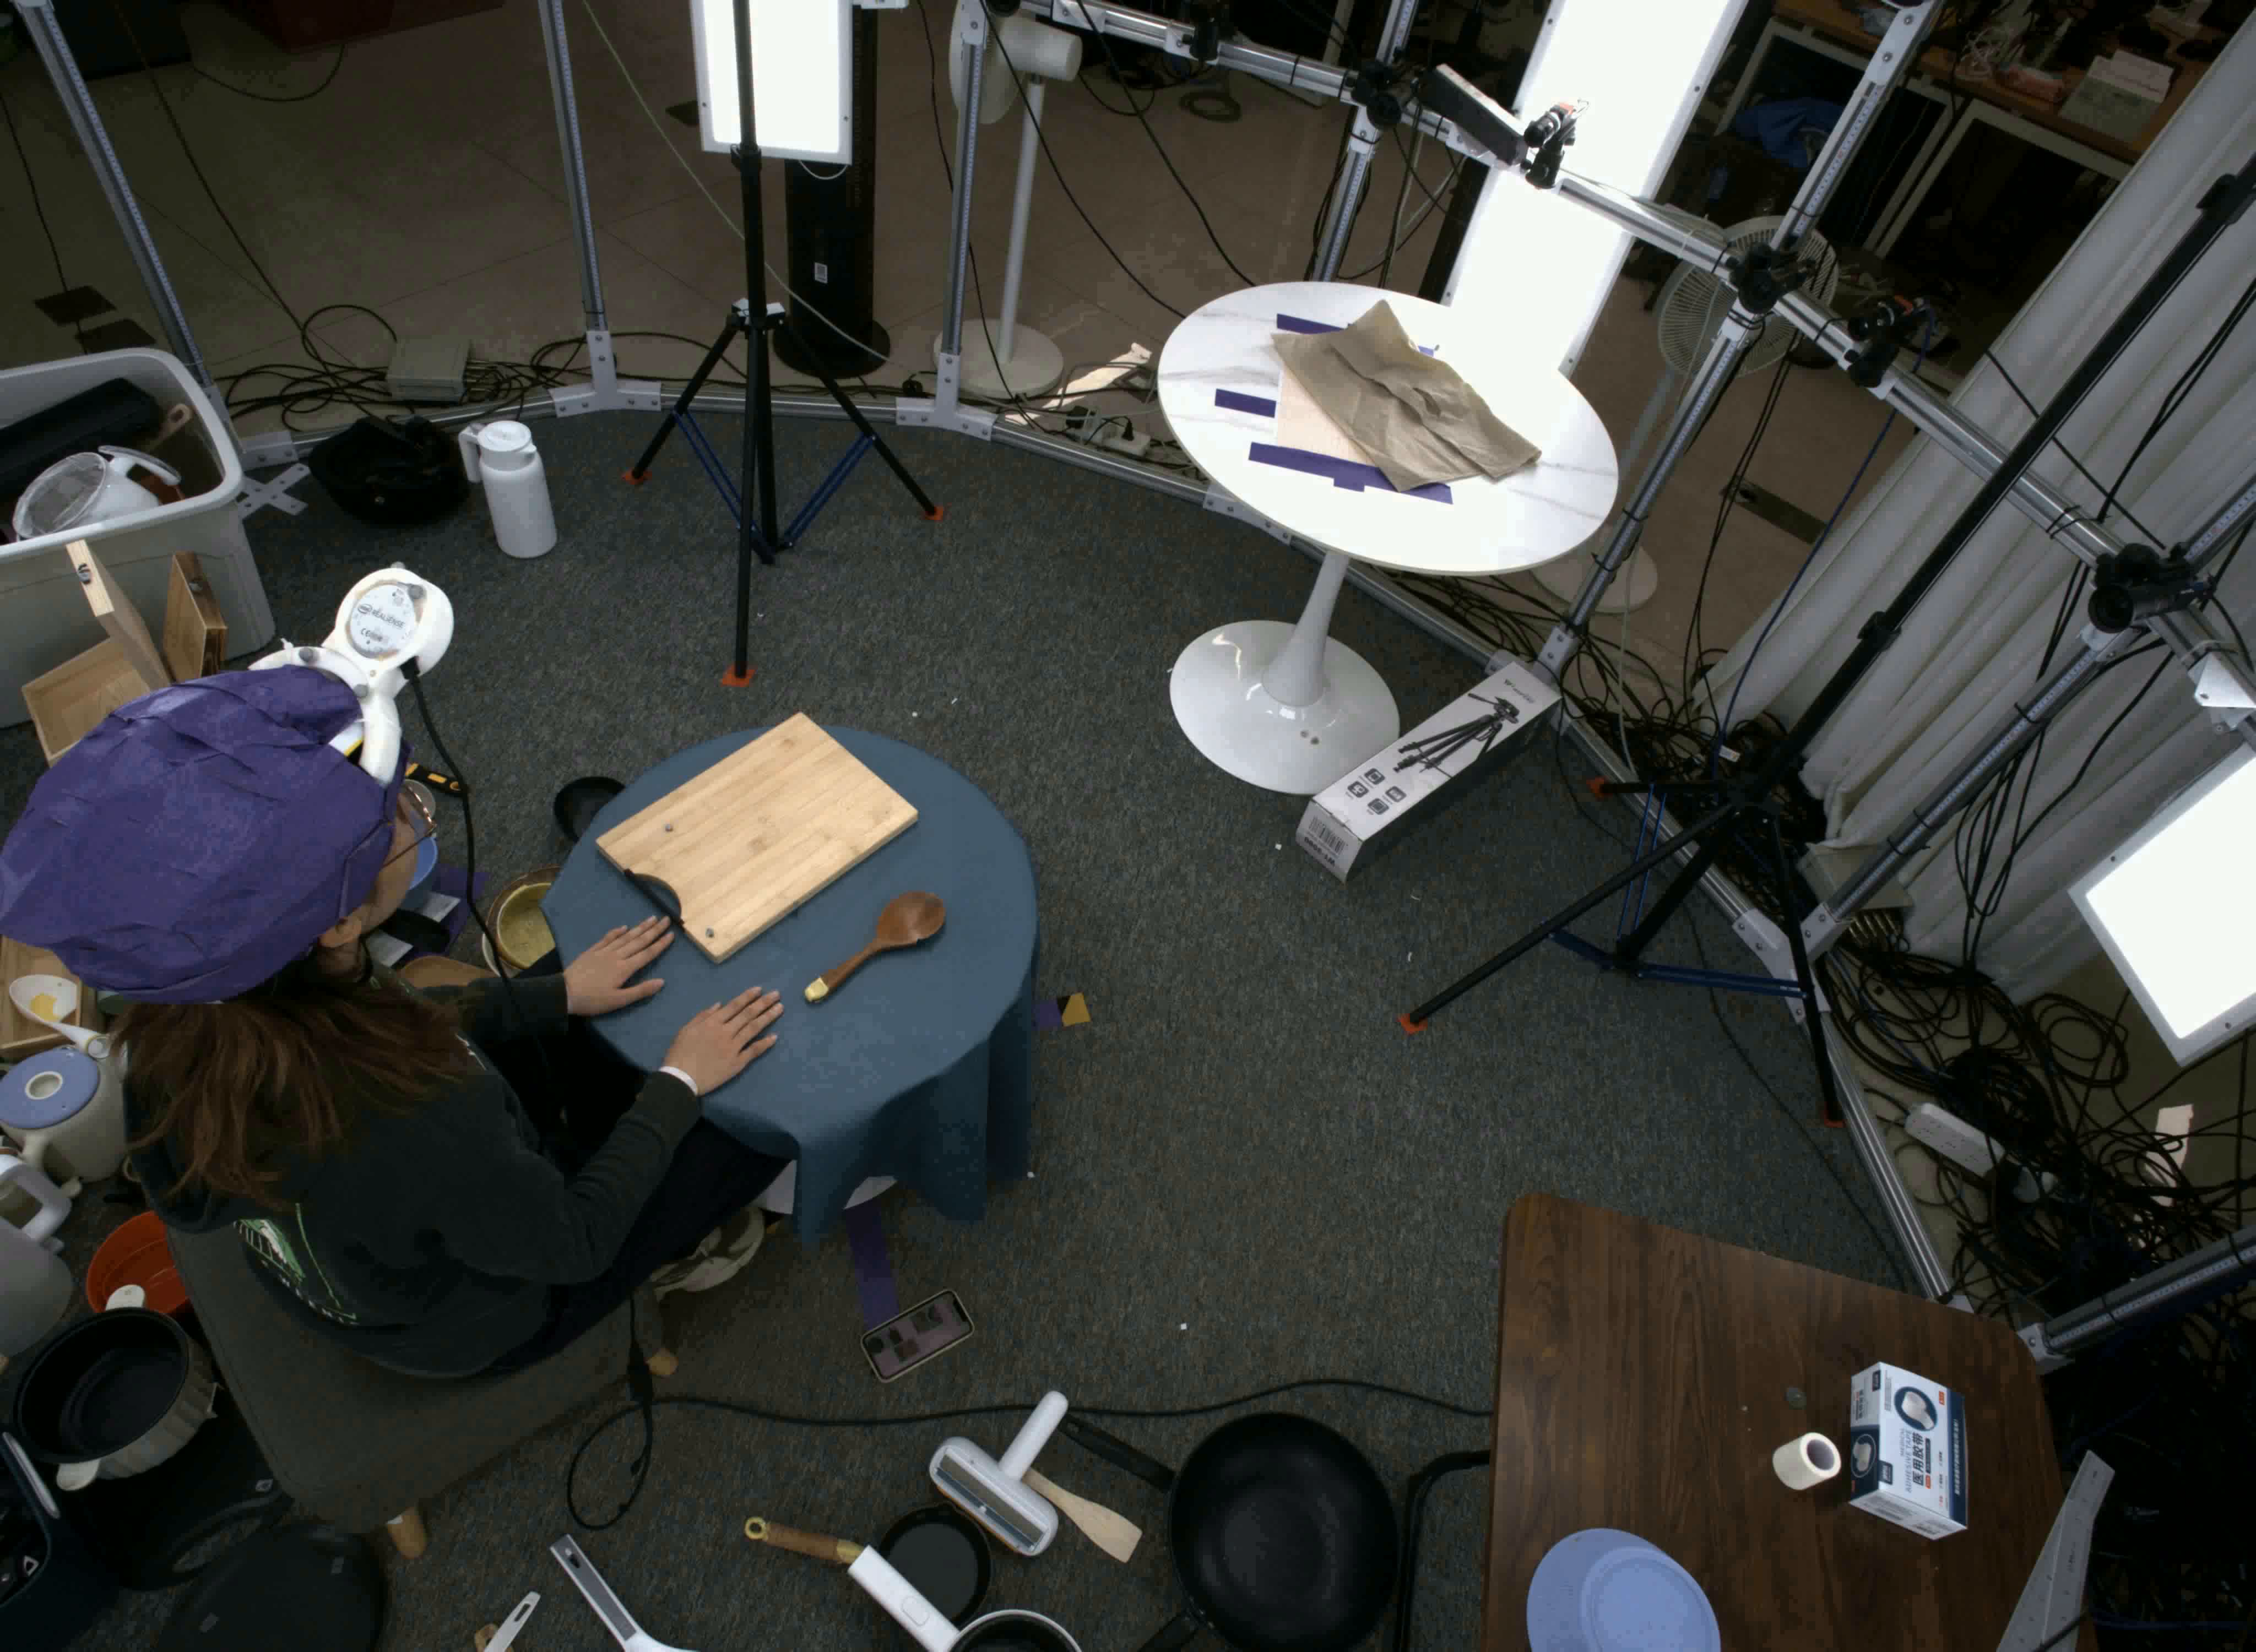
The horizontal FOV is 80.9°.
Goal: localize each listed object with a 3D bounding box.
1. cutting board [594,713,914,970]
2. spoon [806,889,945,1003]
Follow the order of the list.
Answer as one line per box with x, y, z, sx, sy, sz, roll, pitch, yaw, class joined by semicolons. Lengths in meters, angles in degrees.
-0.486;0.008;1.697;0.245;0.024;0.349;38;54;15;cutting board
-0.318;0.150;1.633;0.074;0.017;0.216;40;54;15;spoon
